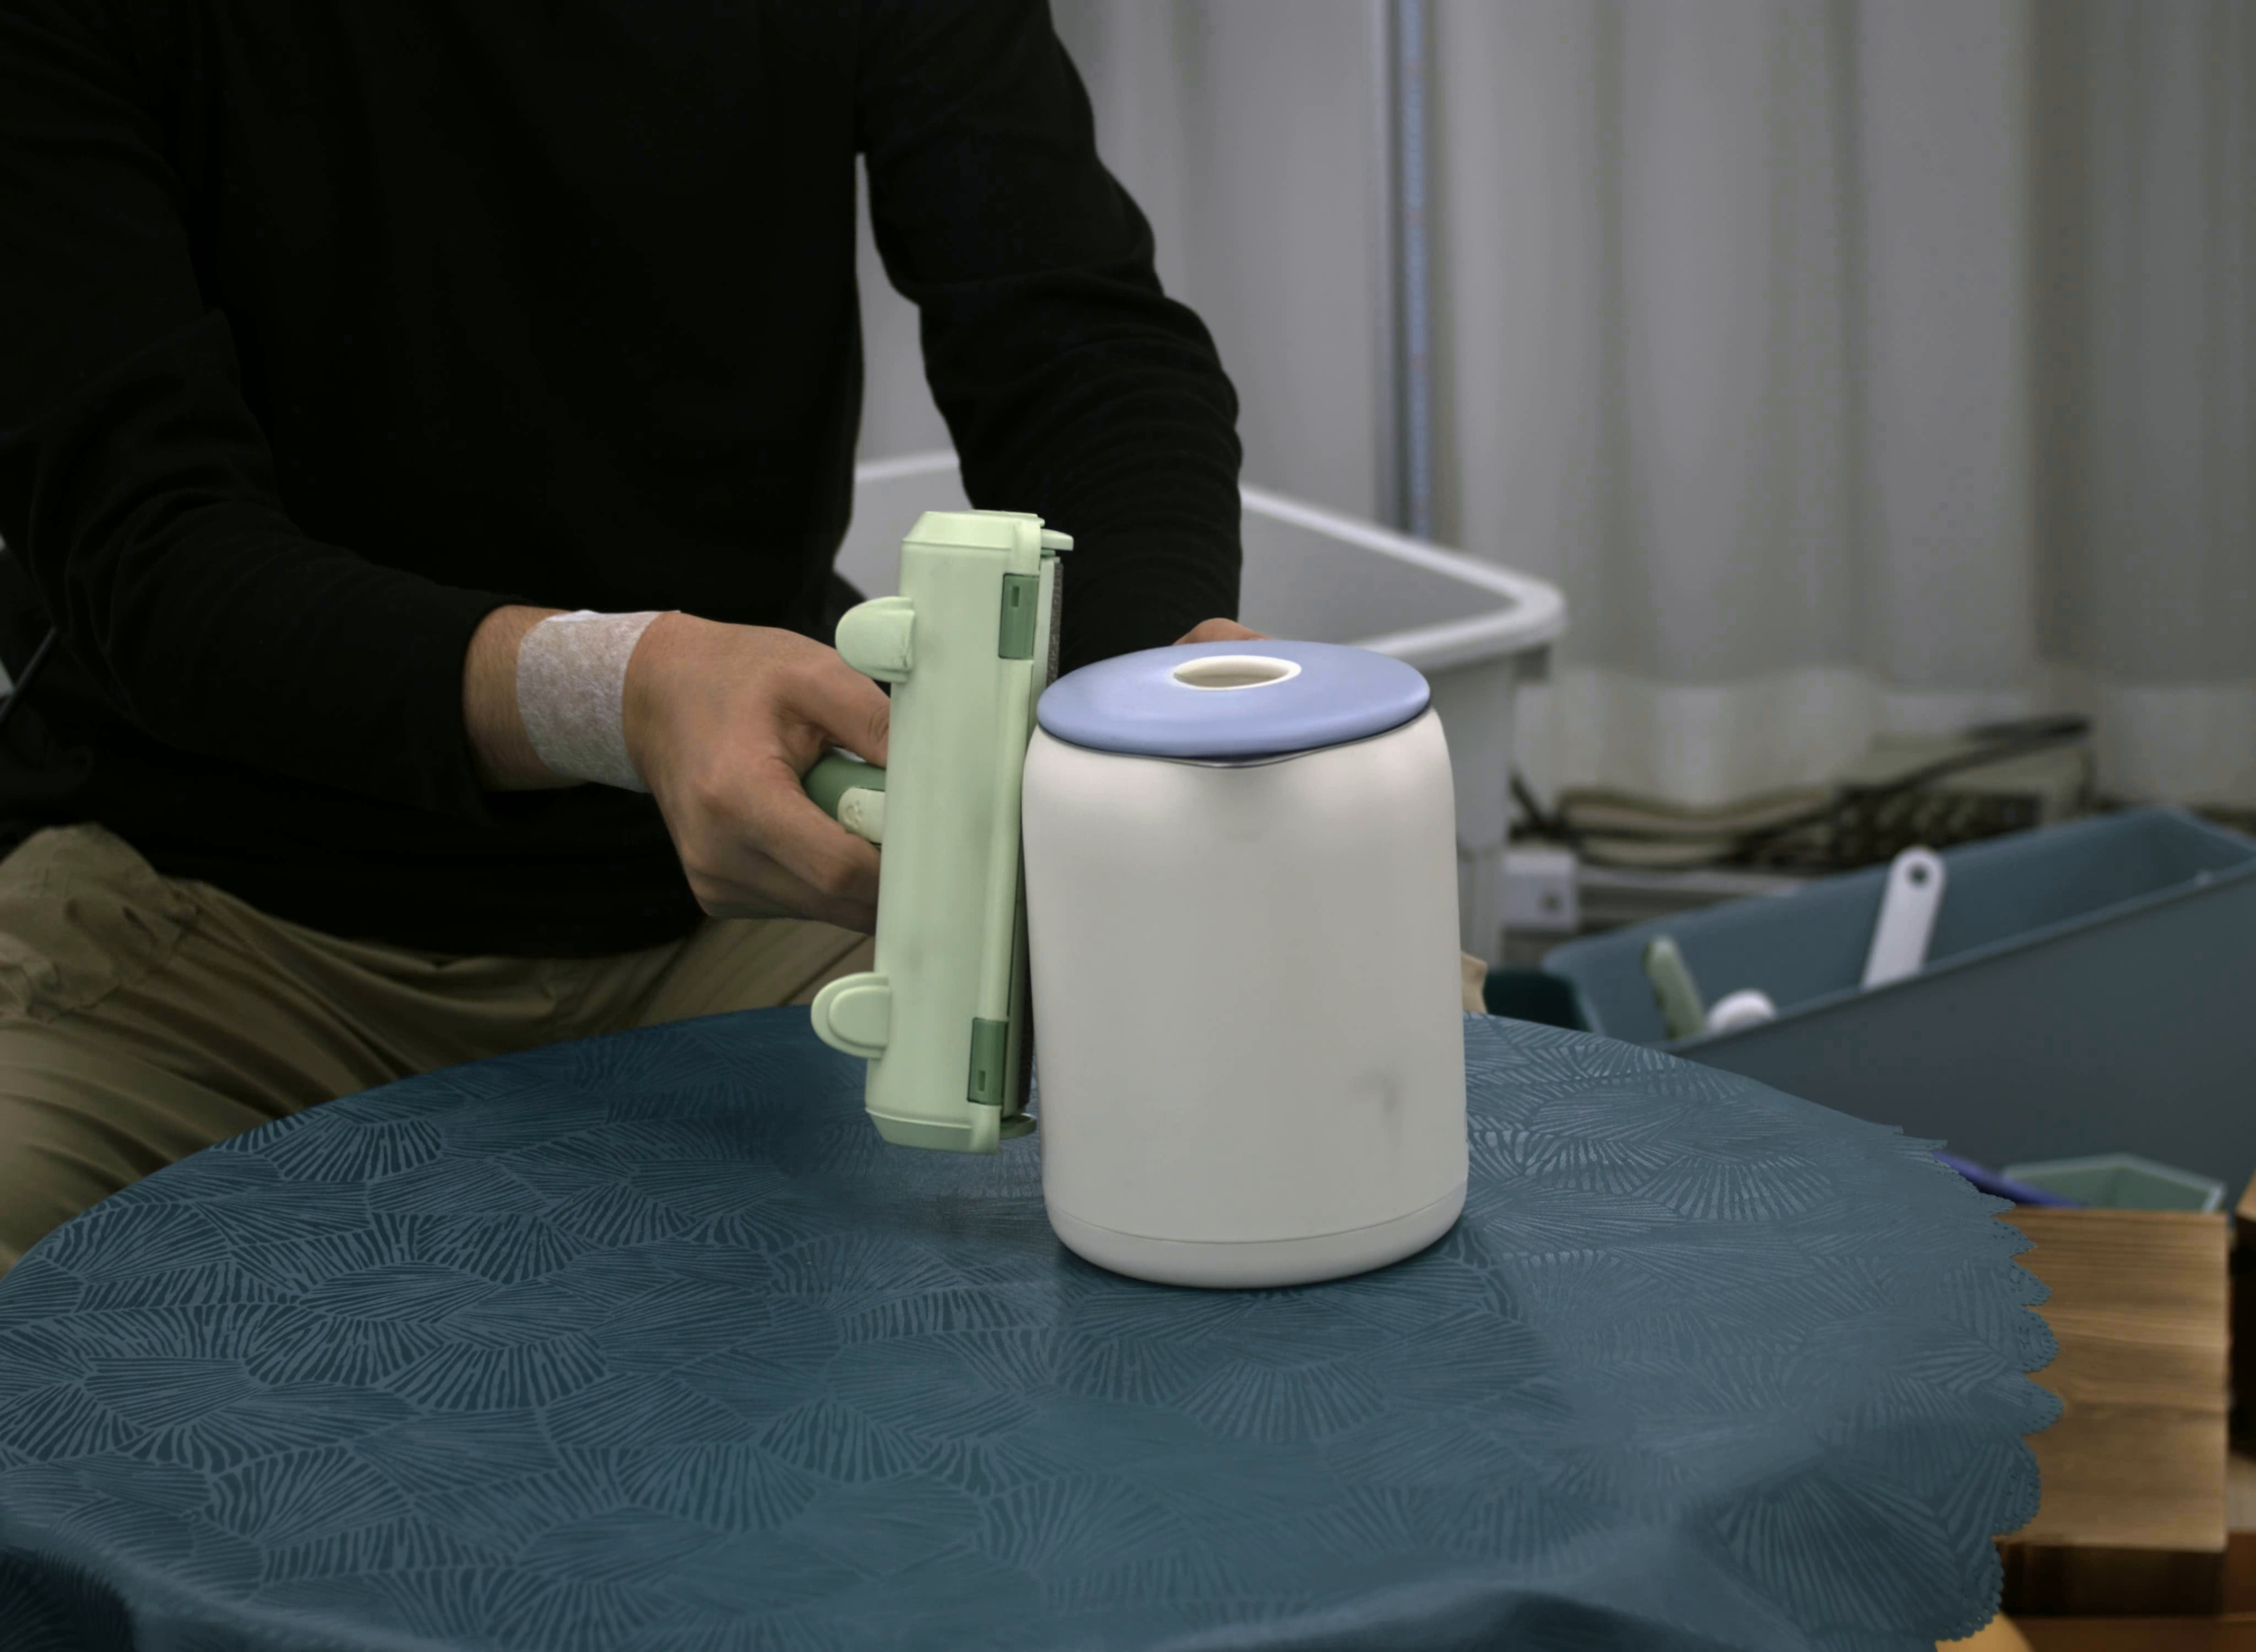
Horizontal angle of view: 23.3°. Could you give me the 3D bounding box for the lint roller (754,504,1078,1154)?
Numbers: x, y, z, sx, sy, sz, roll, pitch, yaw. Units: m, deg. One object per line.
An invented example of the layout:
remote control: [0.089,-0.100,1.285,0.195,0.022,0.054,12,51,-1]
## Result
lint roller: [-0.088,-0.004,1.723,0.081,0.199,0.184,4,2,-37]

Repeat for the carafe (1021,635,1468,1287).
carafe: [0.034,0.034,1.680,0.132,0.182,0.192,-3,12,-2]
